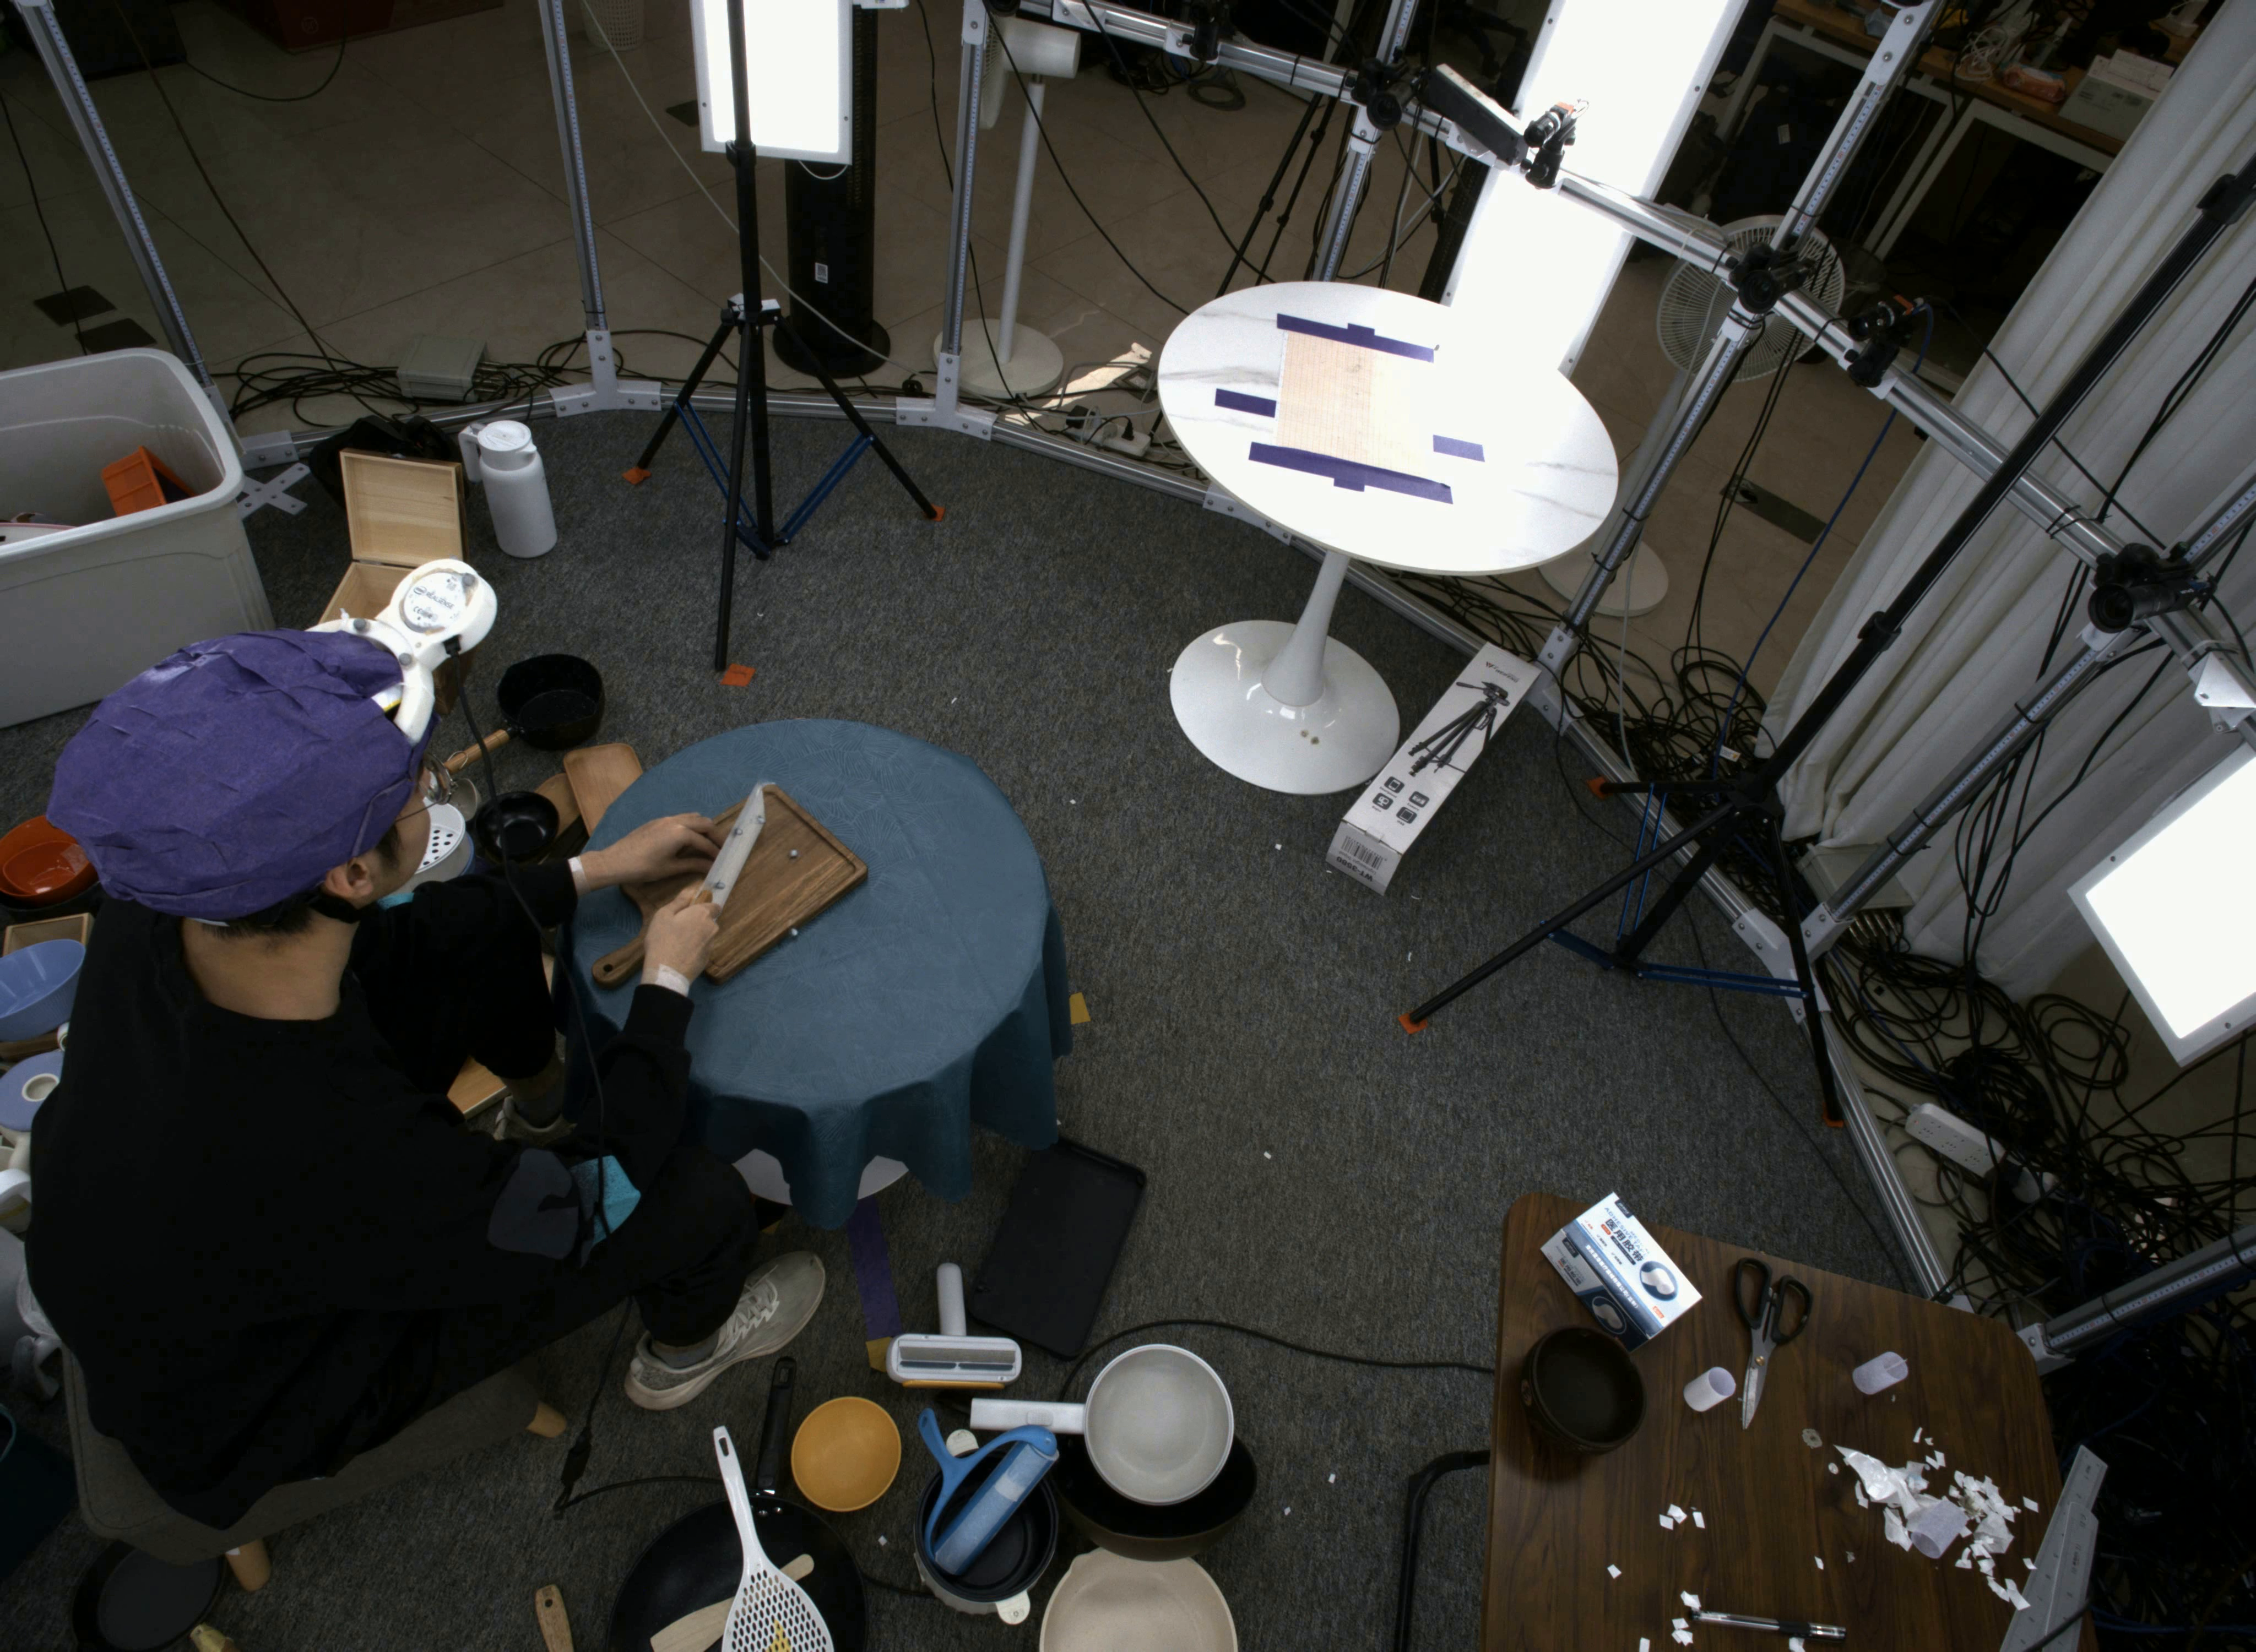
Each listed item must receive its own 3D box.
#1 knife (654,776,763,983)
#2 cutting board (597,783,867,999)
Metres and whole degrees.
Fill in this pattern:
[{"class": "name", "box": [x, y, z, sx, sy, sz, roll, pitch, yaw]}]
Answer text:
[{"class": "knife", "box": [-0.497, 0.072, 1.551, 0.021, 0.095, 0.301, 13, 49, 1]}, {"class": "cutting board", "box": [-0.518, 0.094, 1.609, 0.196, 0.024, 0.352, 39, 56, 16]}]
